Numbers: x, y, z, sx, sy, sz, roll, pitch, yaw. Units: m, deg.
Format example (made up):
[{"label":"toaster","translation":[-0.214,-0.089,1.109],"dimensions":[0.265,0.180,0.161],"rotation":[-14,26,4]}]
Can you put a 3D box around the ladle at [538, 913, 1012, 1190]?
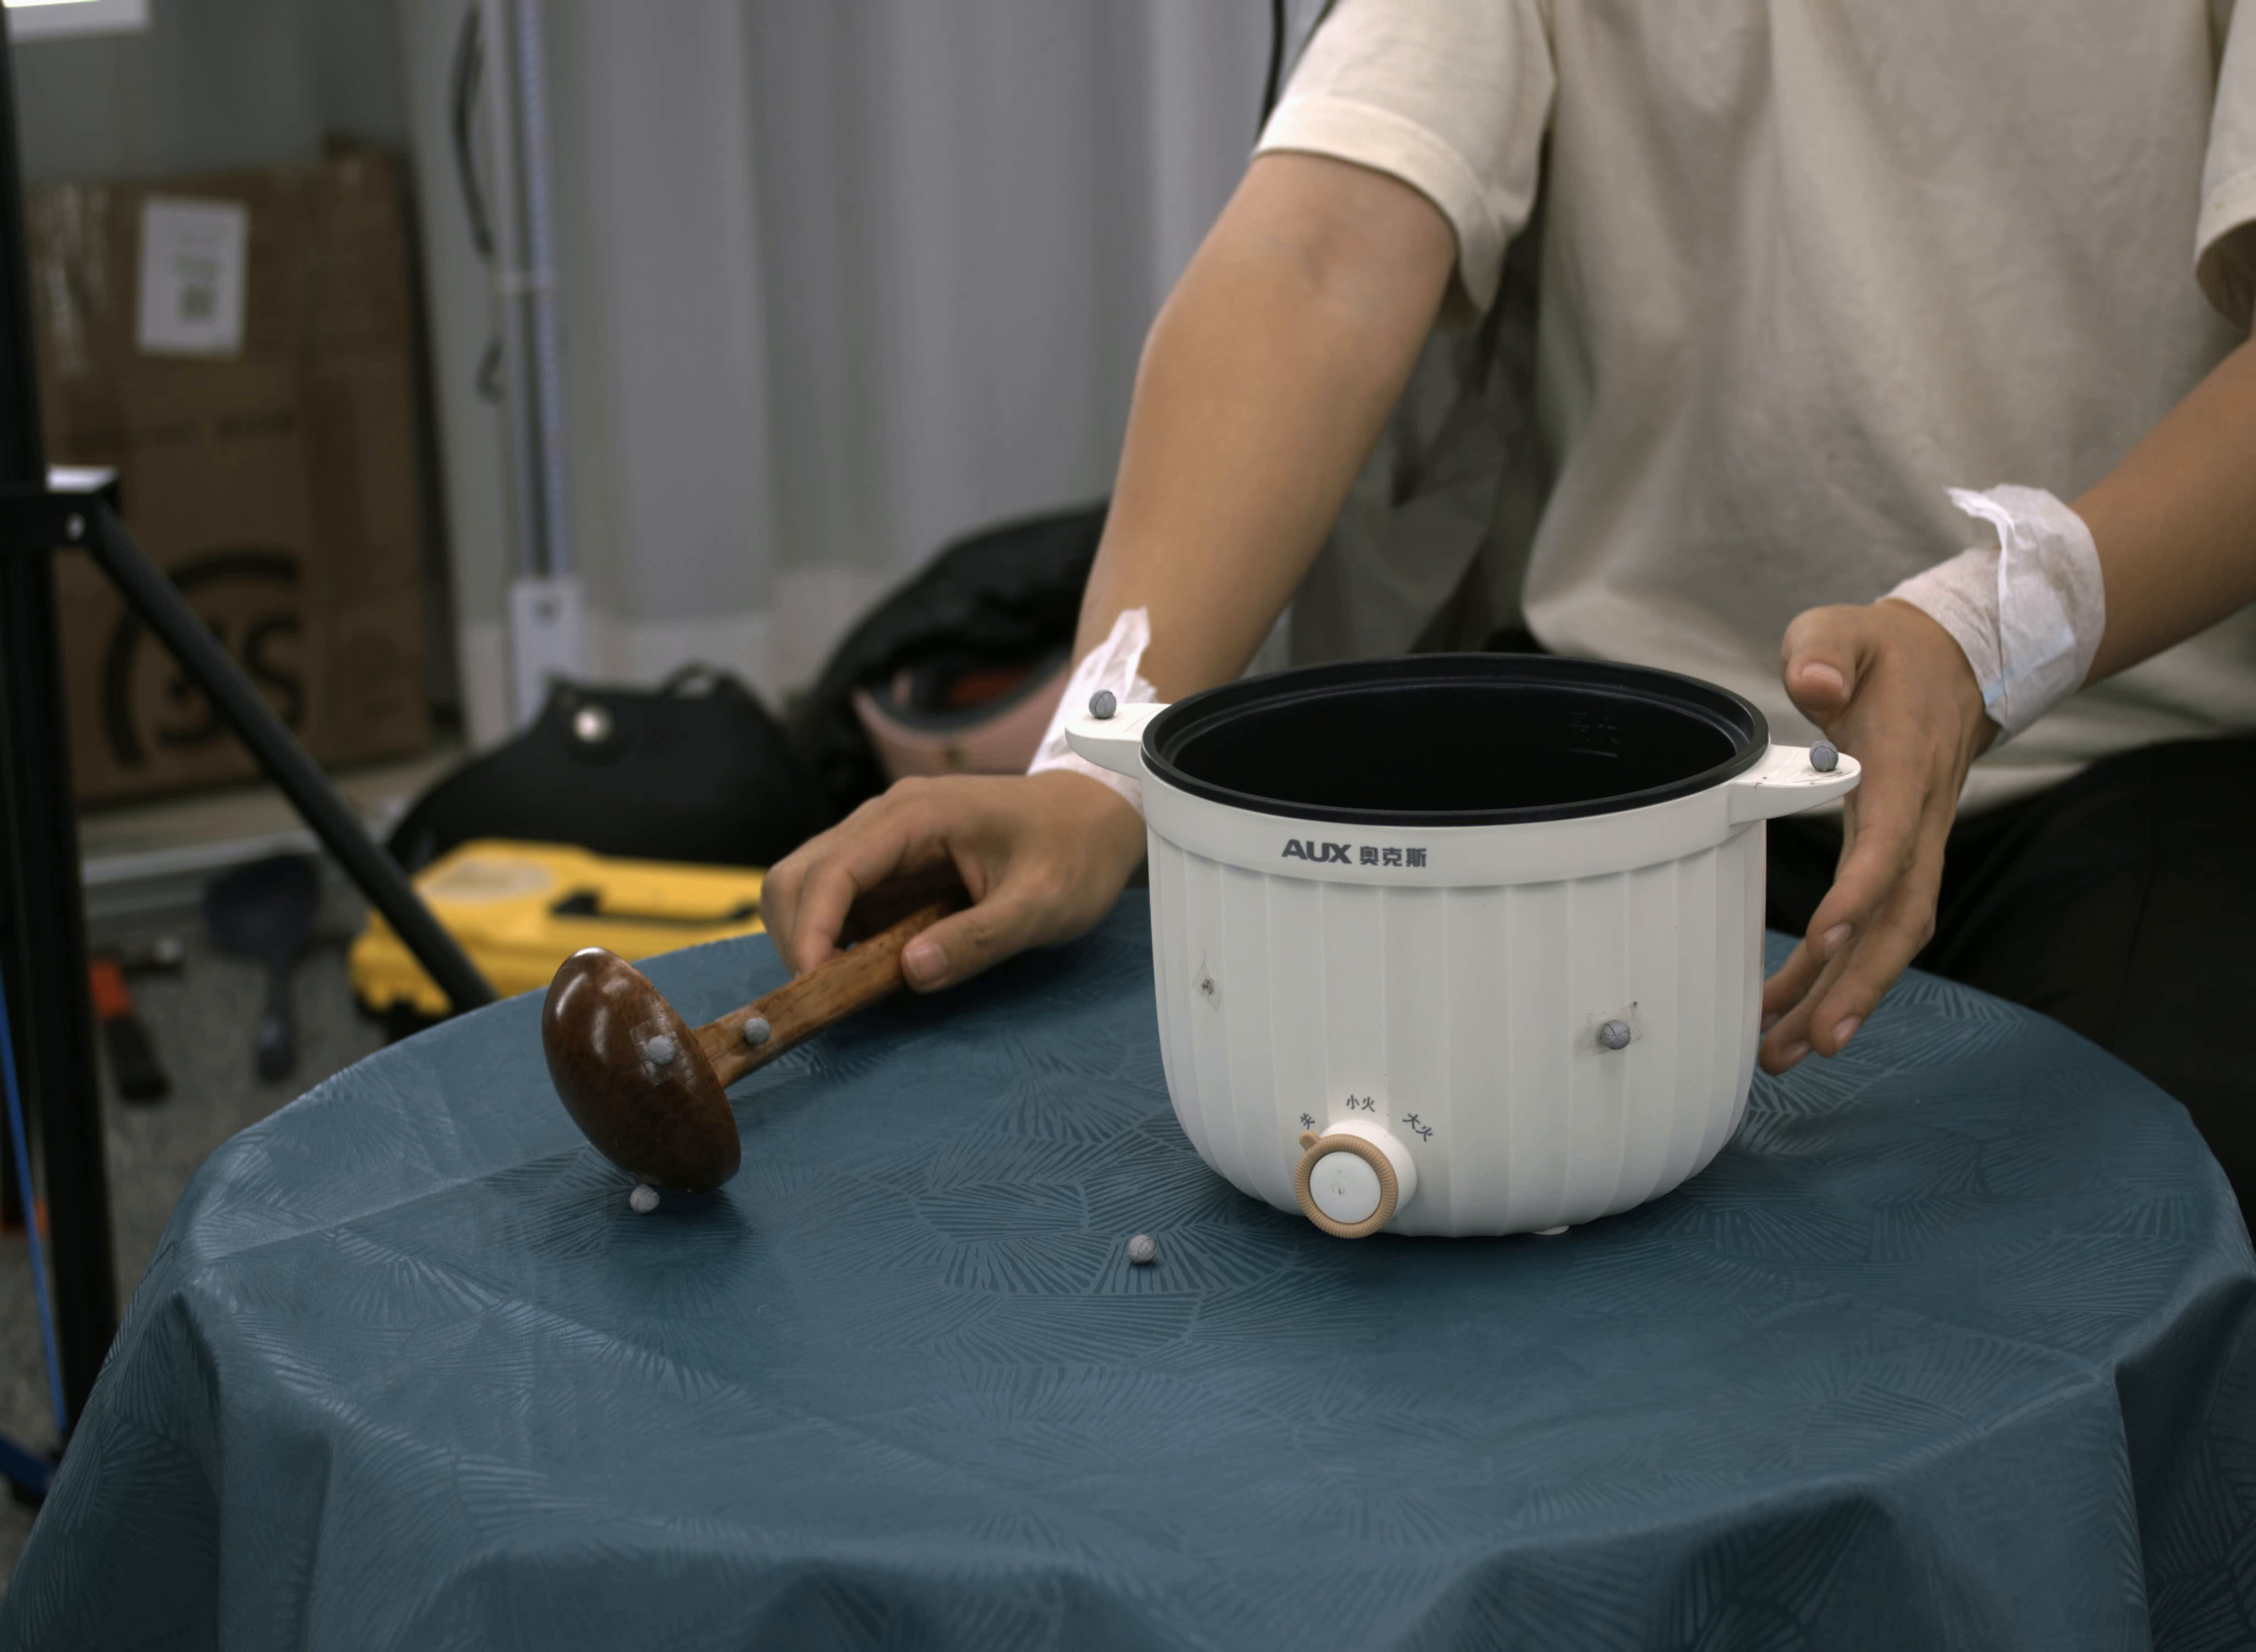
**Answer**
[{"label":"ladle","translation":[-0.093,0.049,1.651],"dimensions":[0.077,0.082,0.269],"rotation":[-37,-7,33]}]

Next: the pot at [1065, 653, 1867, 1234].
[{"label":"pot","translation":[0.095,0.037,1.537],"dimensions":[0.243,0.143,0.188],"rotation":[3,13,23]}]
